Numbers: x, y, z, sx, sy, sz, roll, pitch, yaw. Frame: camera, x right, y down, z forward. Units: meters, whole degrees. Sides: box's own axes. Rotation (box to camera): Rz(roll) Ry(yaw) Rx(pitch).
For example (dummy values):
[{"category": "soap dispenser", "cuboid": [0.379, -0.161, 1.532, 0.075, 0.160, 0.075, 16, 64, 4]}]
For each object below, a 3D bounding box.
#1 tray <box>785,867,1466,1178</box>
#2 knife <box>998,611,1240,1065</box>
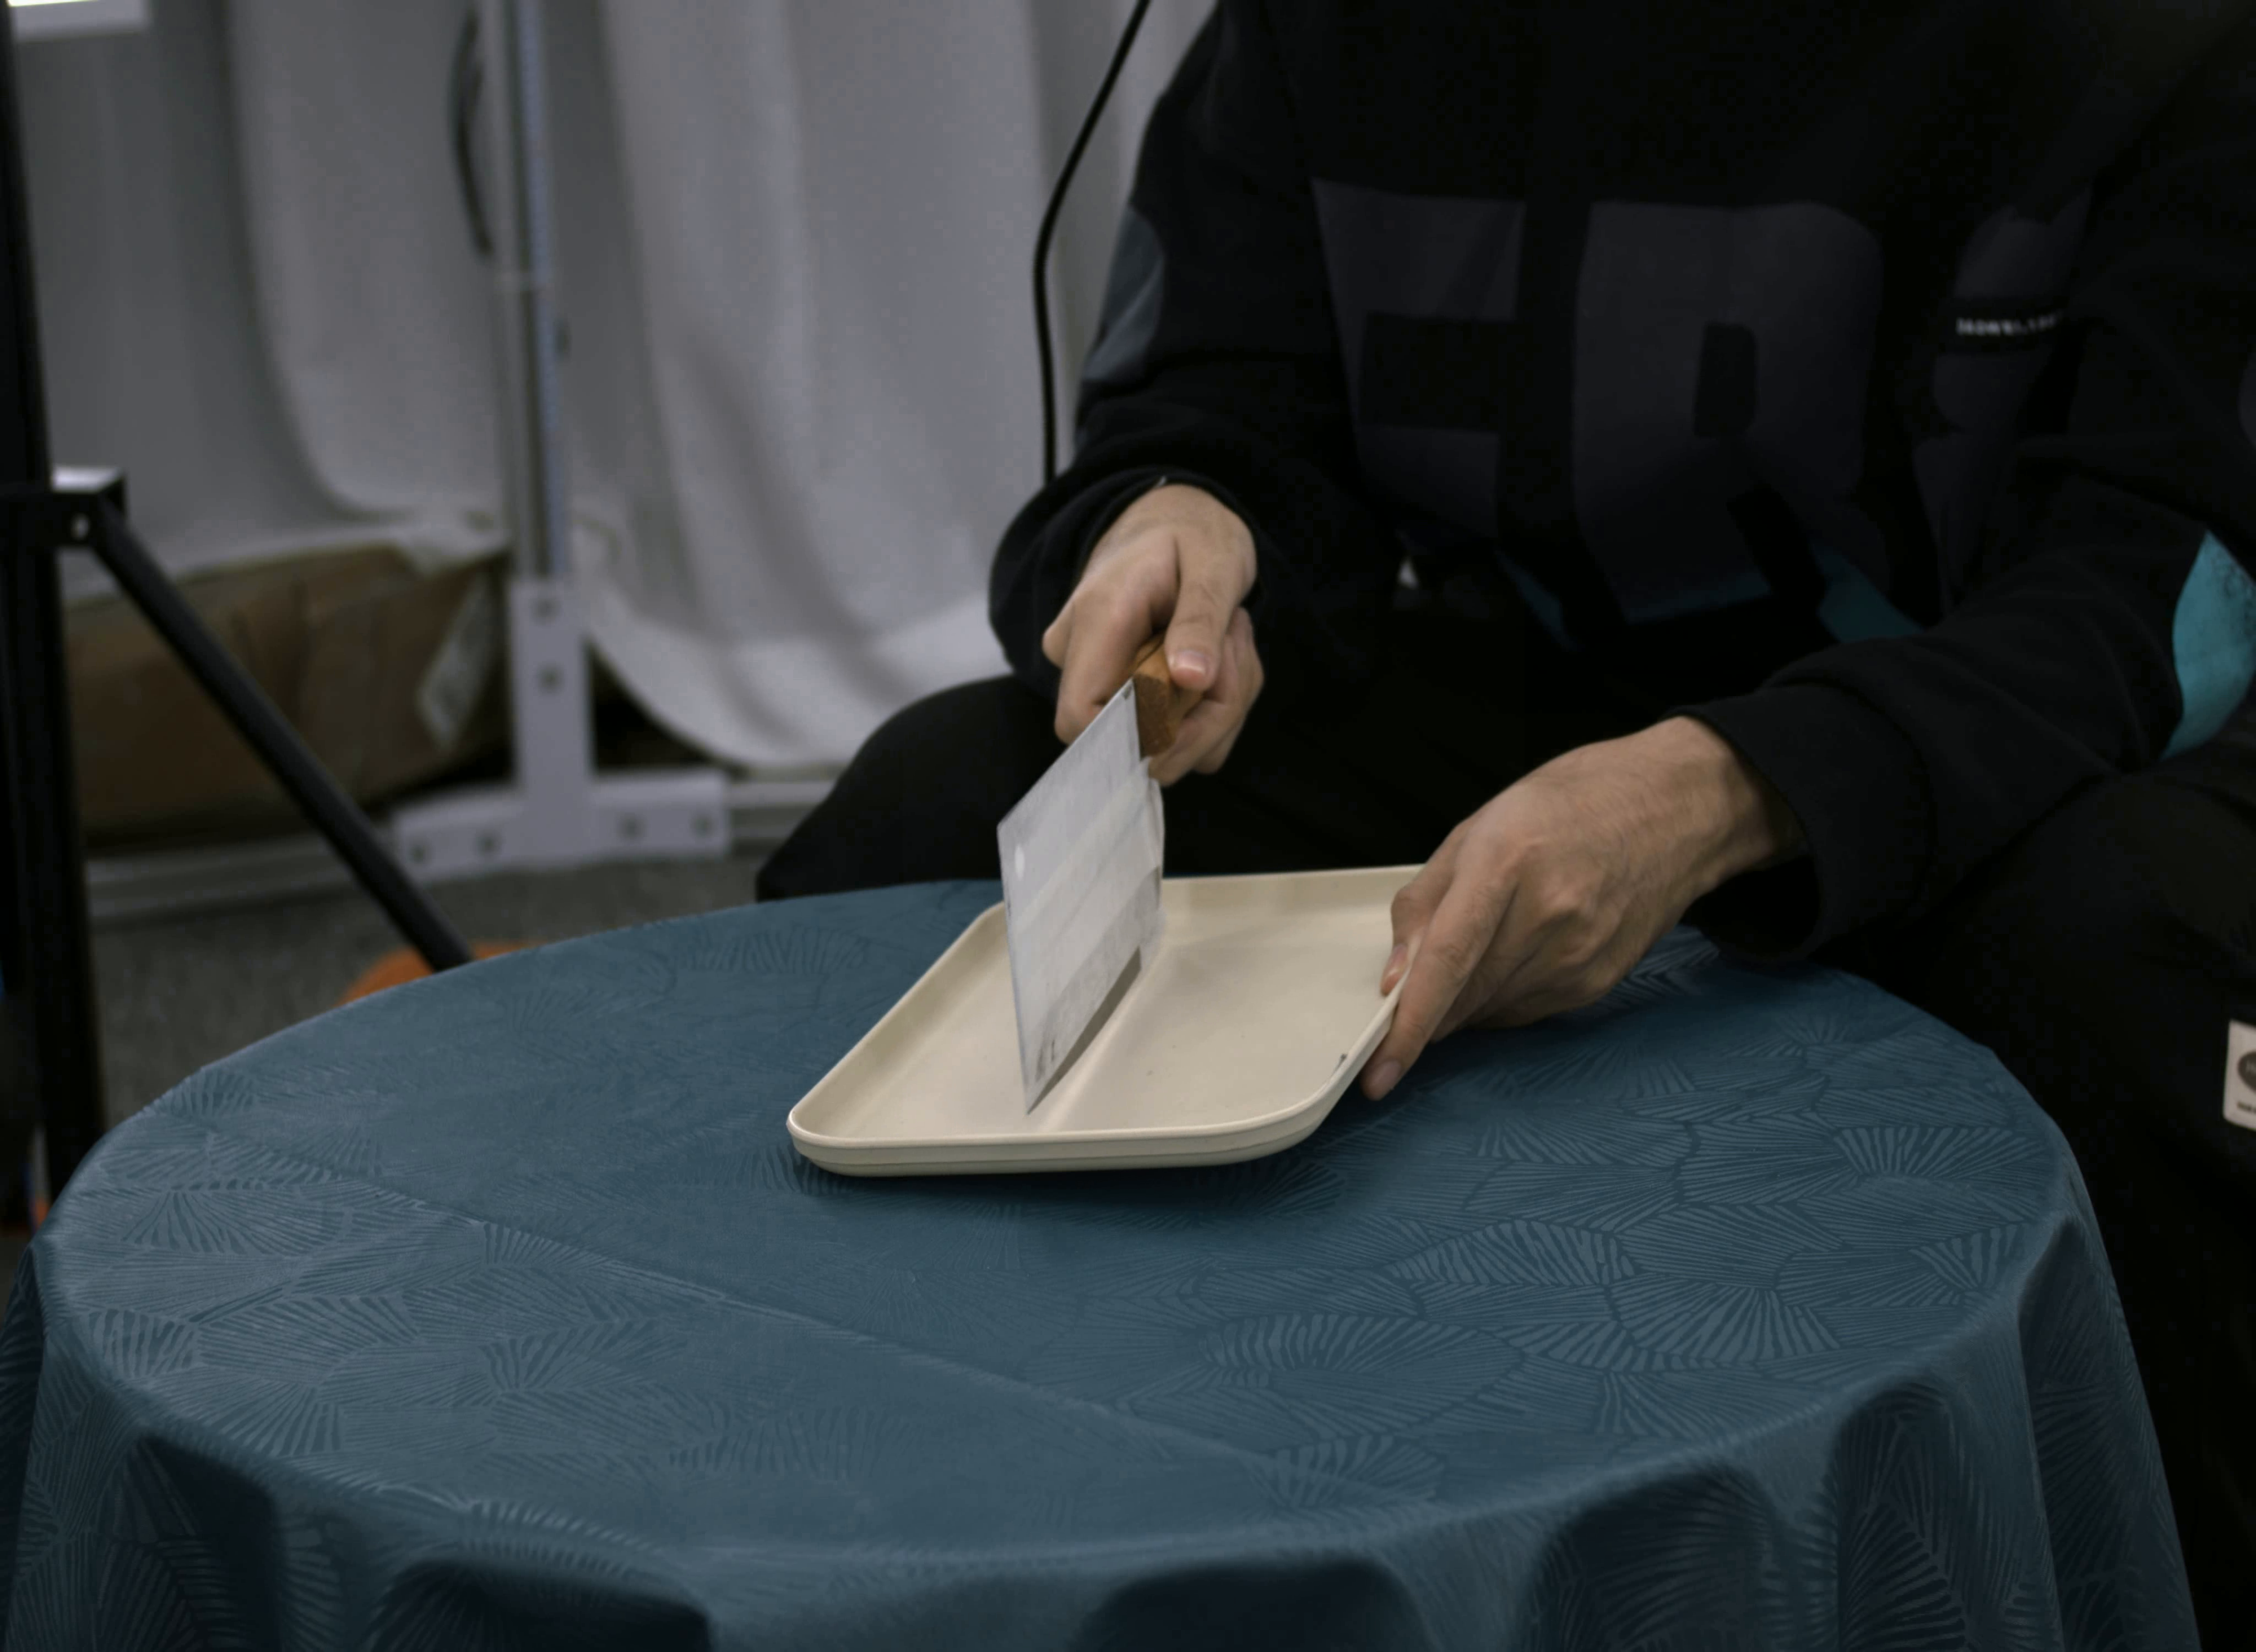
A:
[{"category": "tray", "cuboid": [0.004, 0.061, 1.653, 0.173, 0.017, 0.237, -5, 16, 20]}, {"category": "knife", "cuboid": [-0.001, 0.003, 1.693, 0.021, 0.093, 0.303, -3, 15, 14]}]
